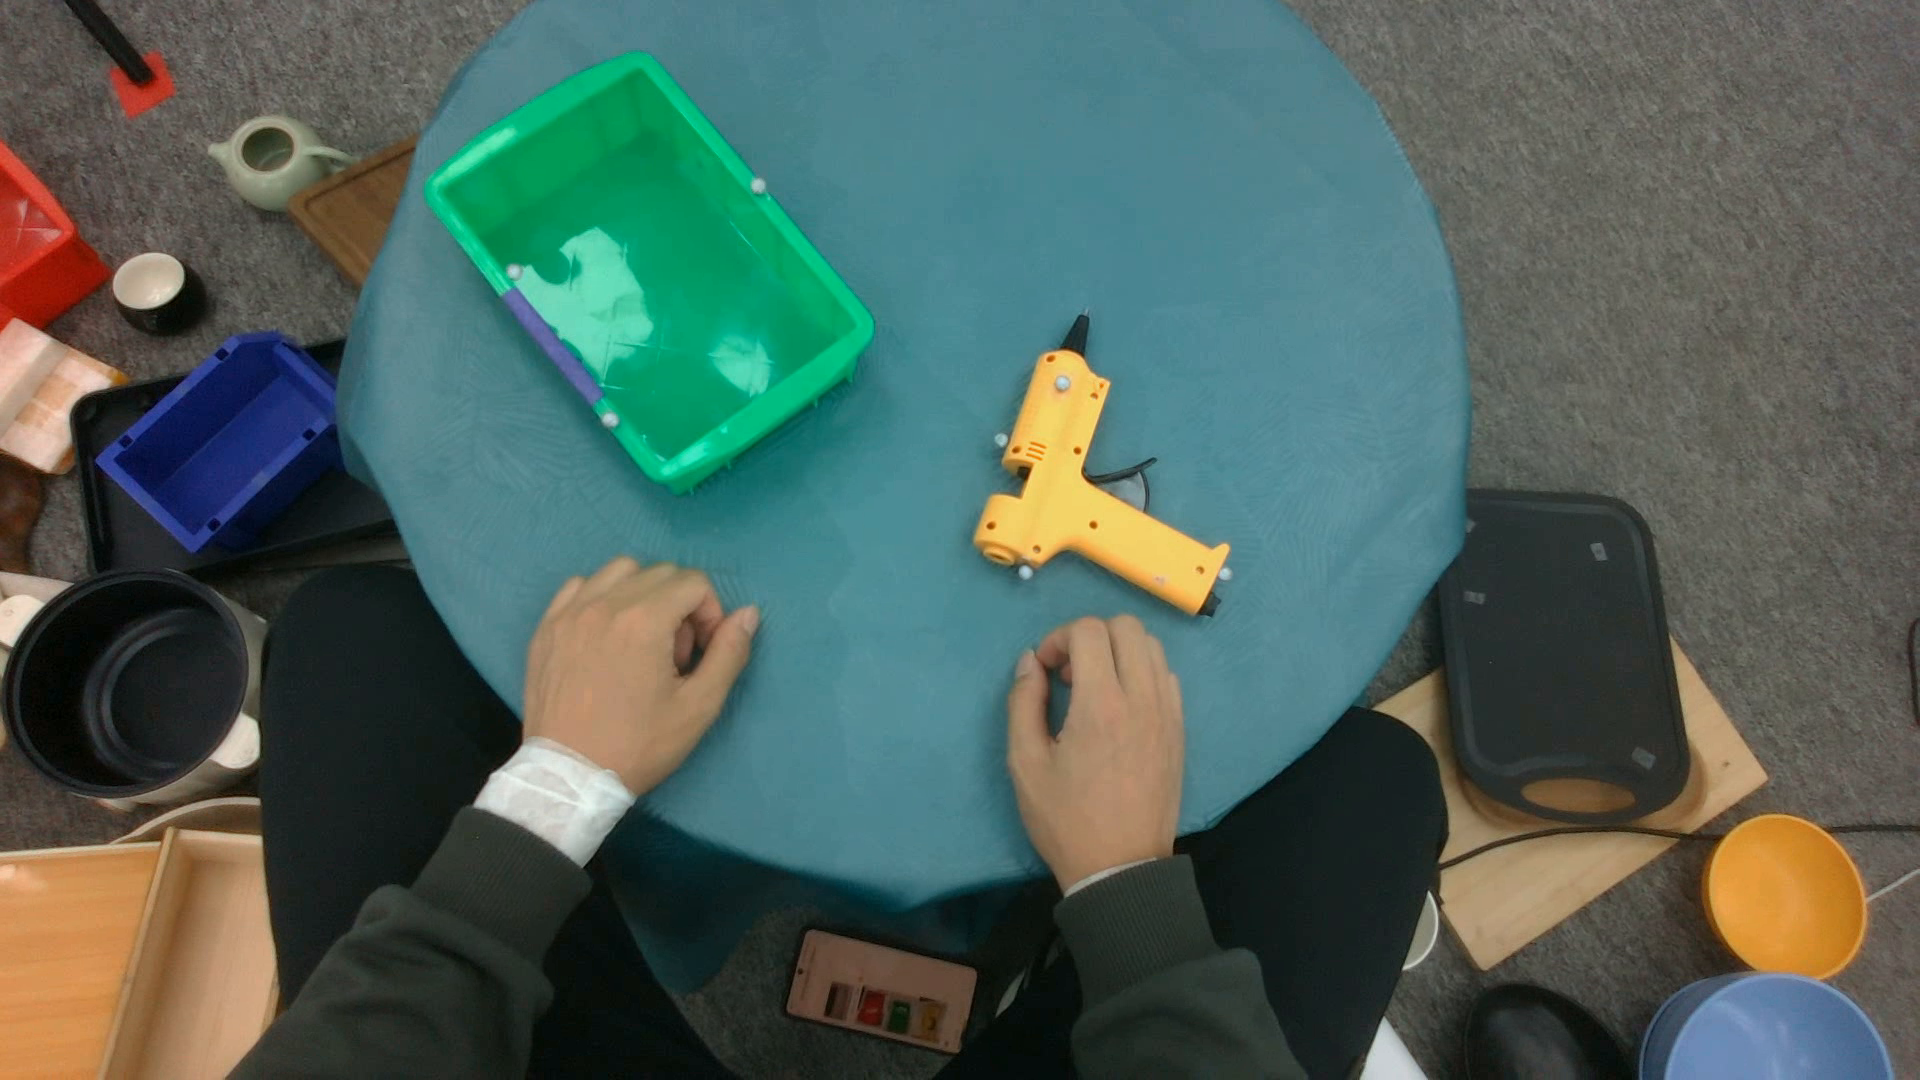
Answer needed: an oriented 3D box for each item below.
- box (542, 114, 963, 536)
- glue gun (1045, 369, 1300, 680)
[{"bbox_3d":[-0.109,-0.111,0.740,0.139,0.065,0.210,-37,80,-10],"label":"box"},{"bbox_3d":[0.129,-0.014,0.741,0.133,0.031,0.152,18,73,2],"label":"glue gun"}]
